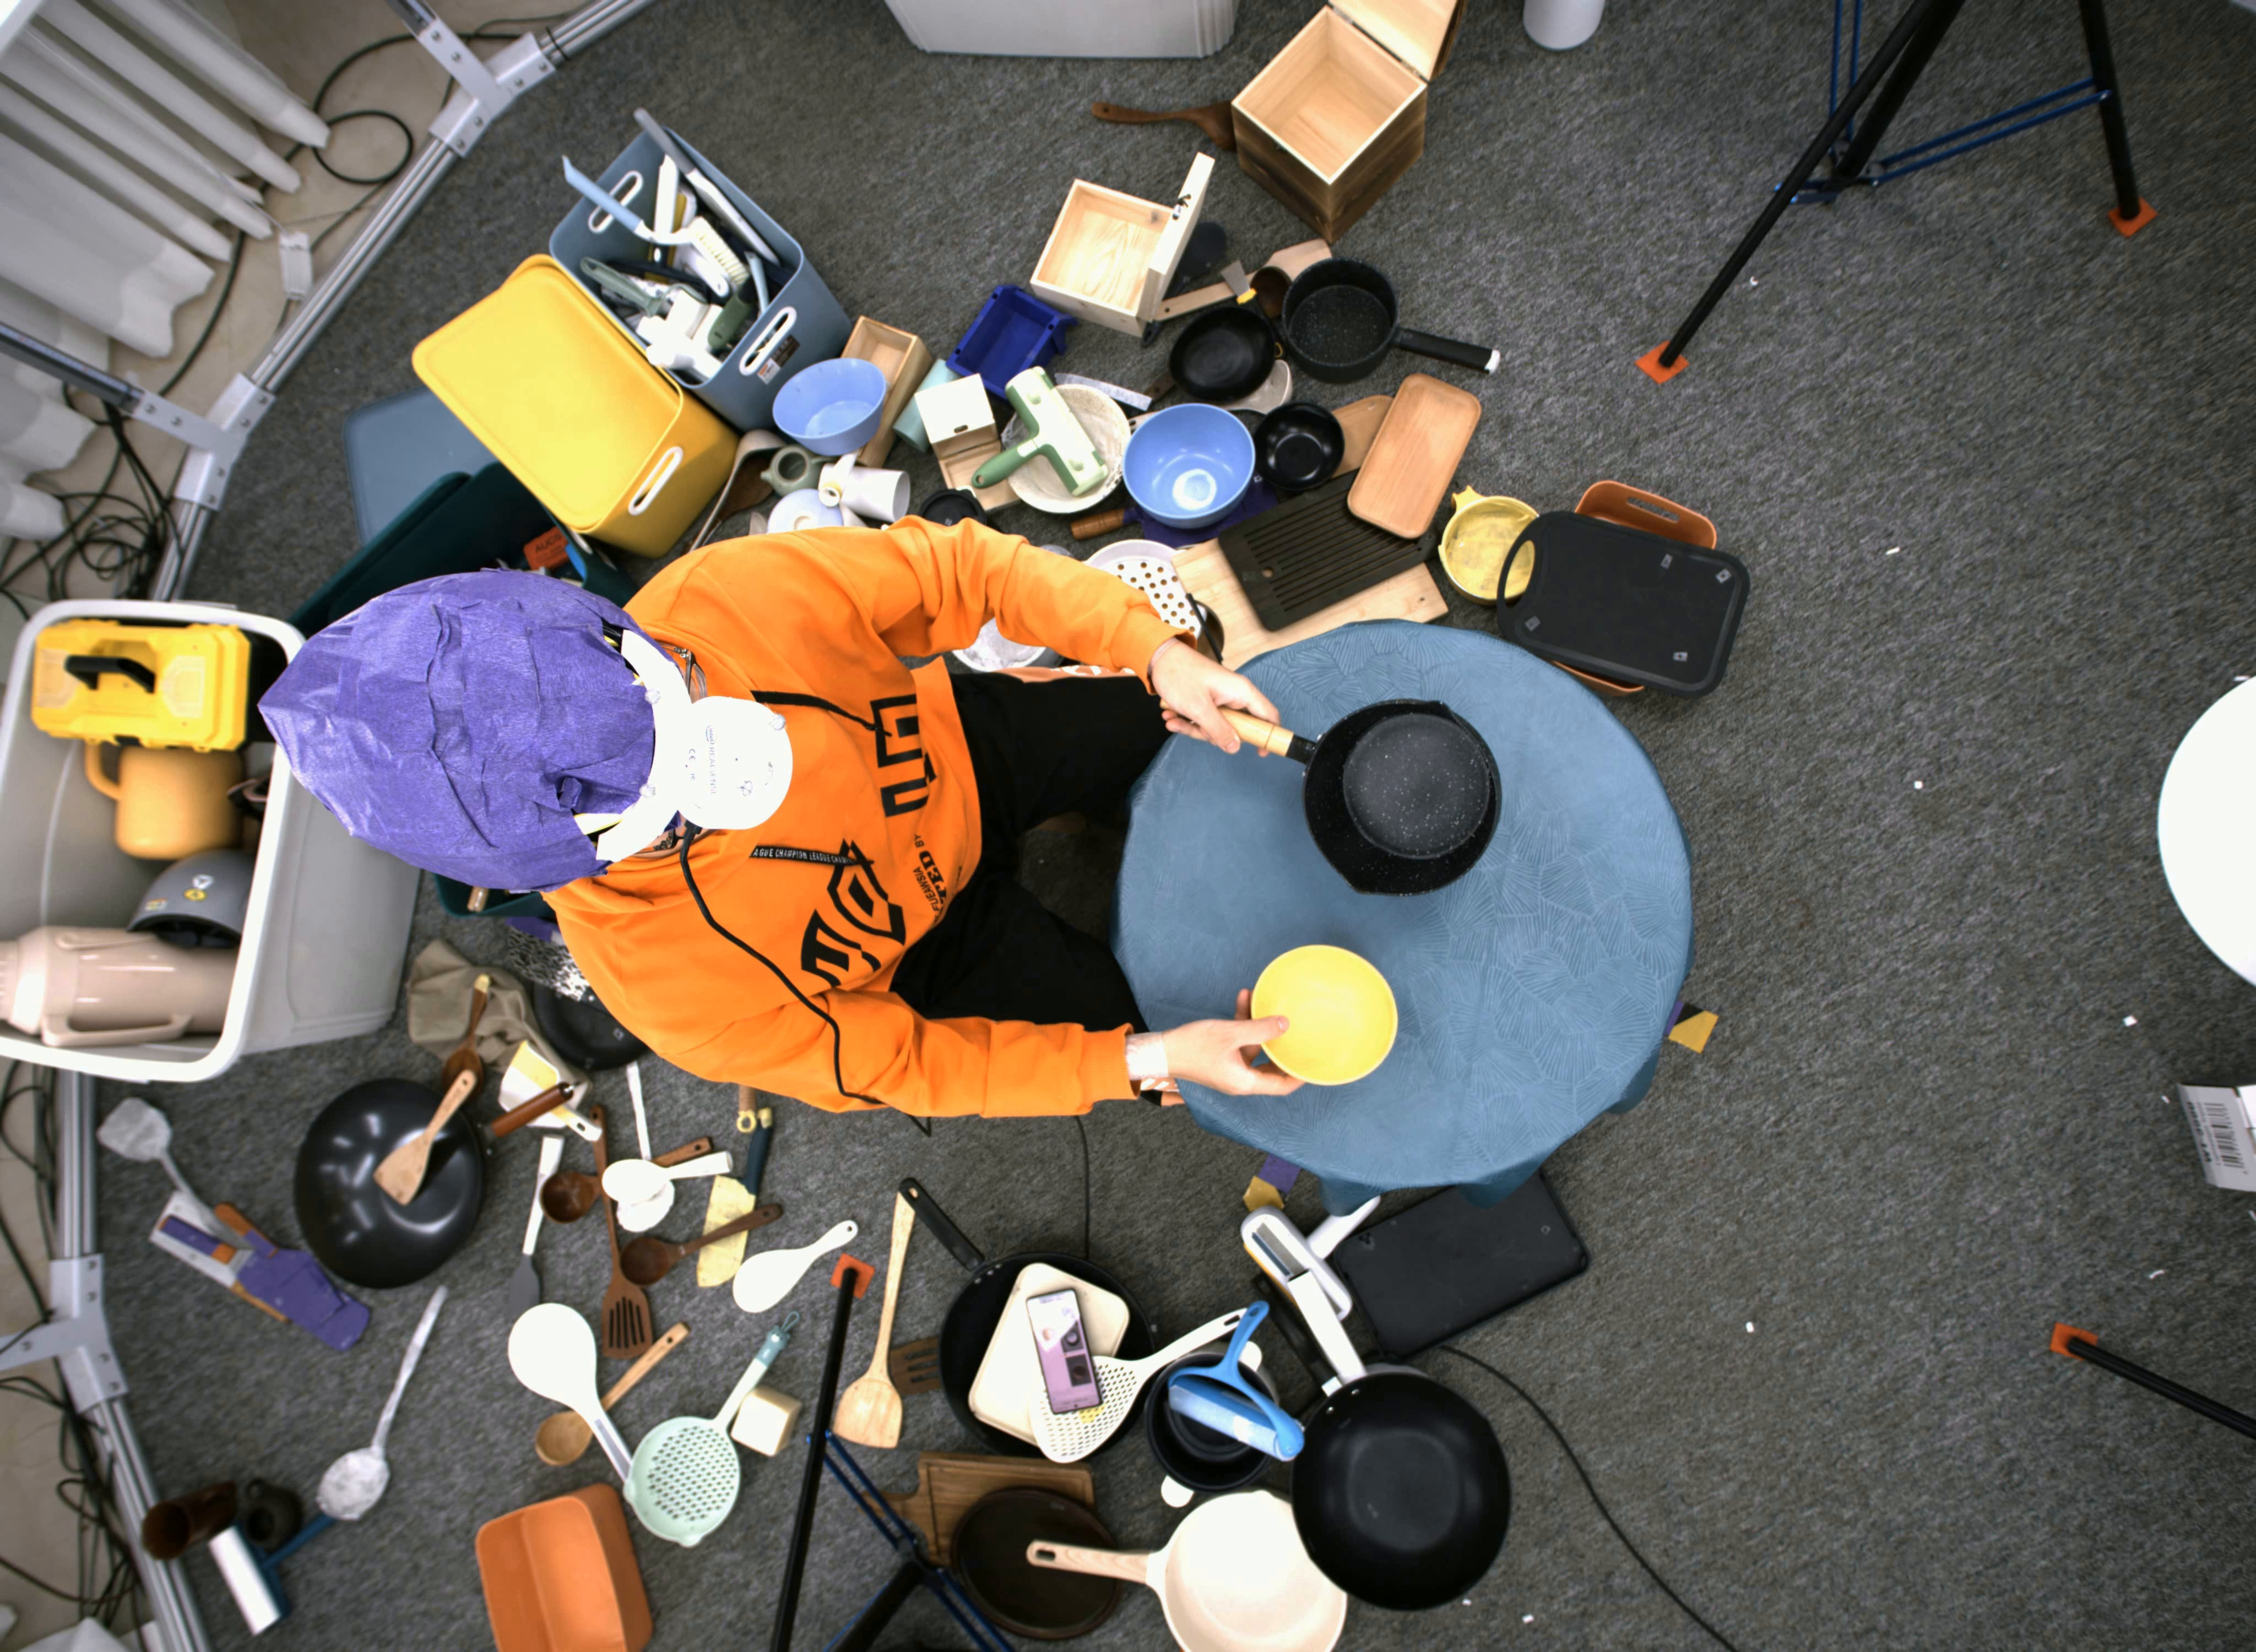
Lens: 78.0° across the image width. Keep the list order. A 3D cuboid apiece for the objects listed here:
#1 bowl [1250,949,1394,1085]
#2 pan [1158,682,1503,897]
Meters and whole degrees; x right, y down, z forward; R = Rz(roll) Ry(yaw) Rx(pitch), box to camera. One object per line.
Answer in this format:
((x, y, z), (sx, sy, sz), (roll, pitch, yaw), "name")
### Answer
((0.190, 0.199, 1.386), (0.145, 0.061, 0.142), (1, 60, -2), "bowl")
((0.194, -0.064, 1.326), (0.342, 0.106, 0.211), (25, 114, 15), "pan")
